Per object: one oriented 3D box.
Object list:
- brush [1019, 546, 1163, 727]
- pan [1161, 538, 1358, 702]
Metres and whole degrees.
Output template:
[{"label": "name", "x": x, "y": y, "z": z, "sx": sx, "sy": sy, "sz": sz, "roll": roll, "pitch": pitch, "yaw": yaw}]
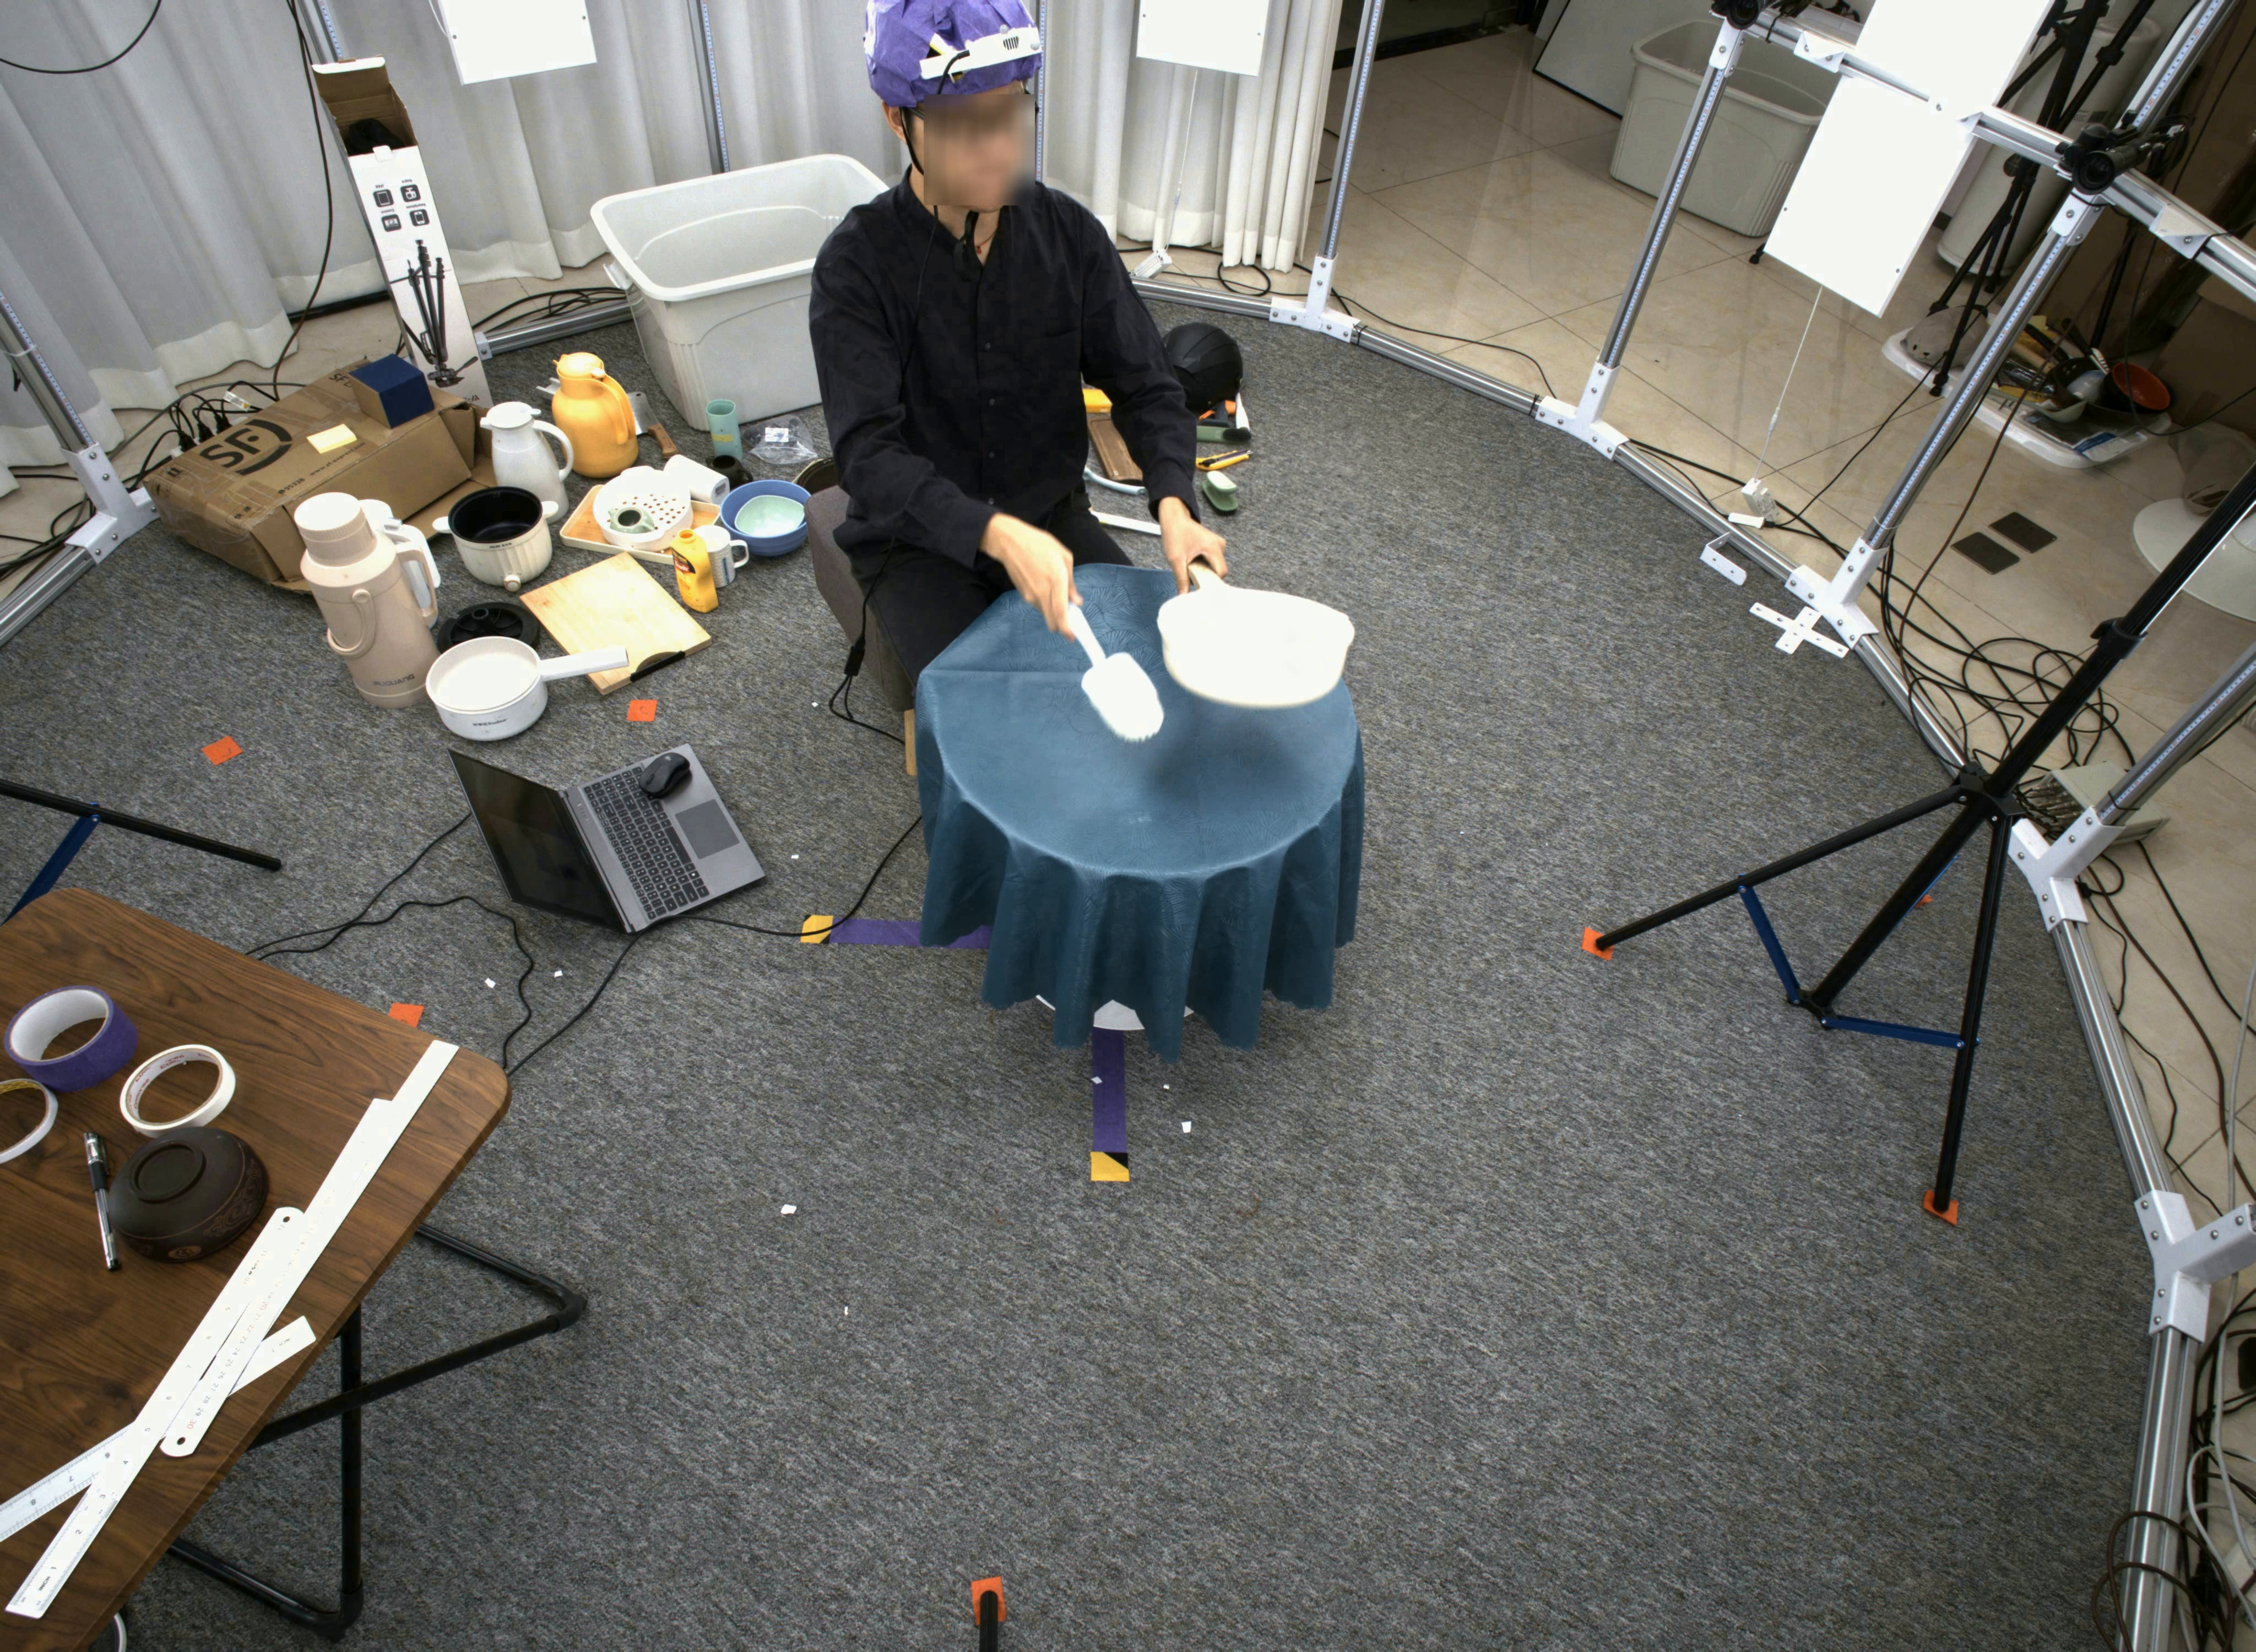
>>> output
[{"label": "brush", "x": -0.046, "y": -0.237, "z": 1.631, "sx": 0.083, "sy": 0.083, "sz": 0.332, "roll": -7, "pitch": 47, "yaw": -35}, {"label": "pan", "x": 0.135, "y": -0.281, "z": 1.736, "sx": 0.263, "sy": 0.100, "sz": 0.444, "roll": -6, "pitch": 29, "yaw": -19}]
